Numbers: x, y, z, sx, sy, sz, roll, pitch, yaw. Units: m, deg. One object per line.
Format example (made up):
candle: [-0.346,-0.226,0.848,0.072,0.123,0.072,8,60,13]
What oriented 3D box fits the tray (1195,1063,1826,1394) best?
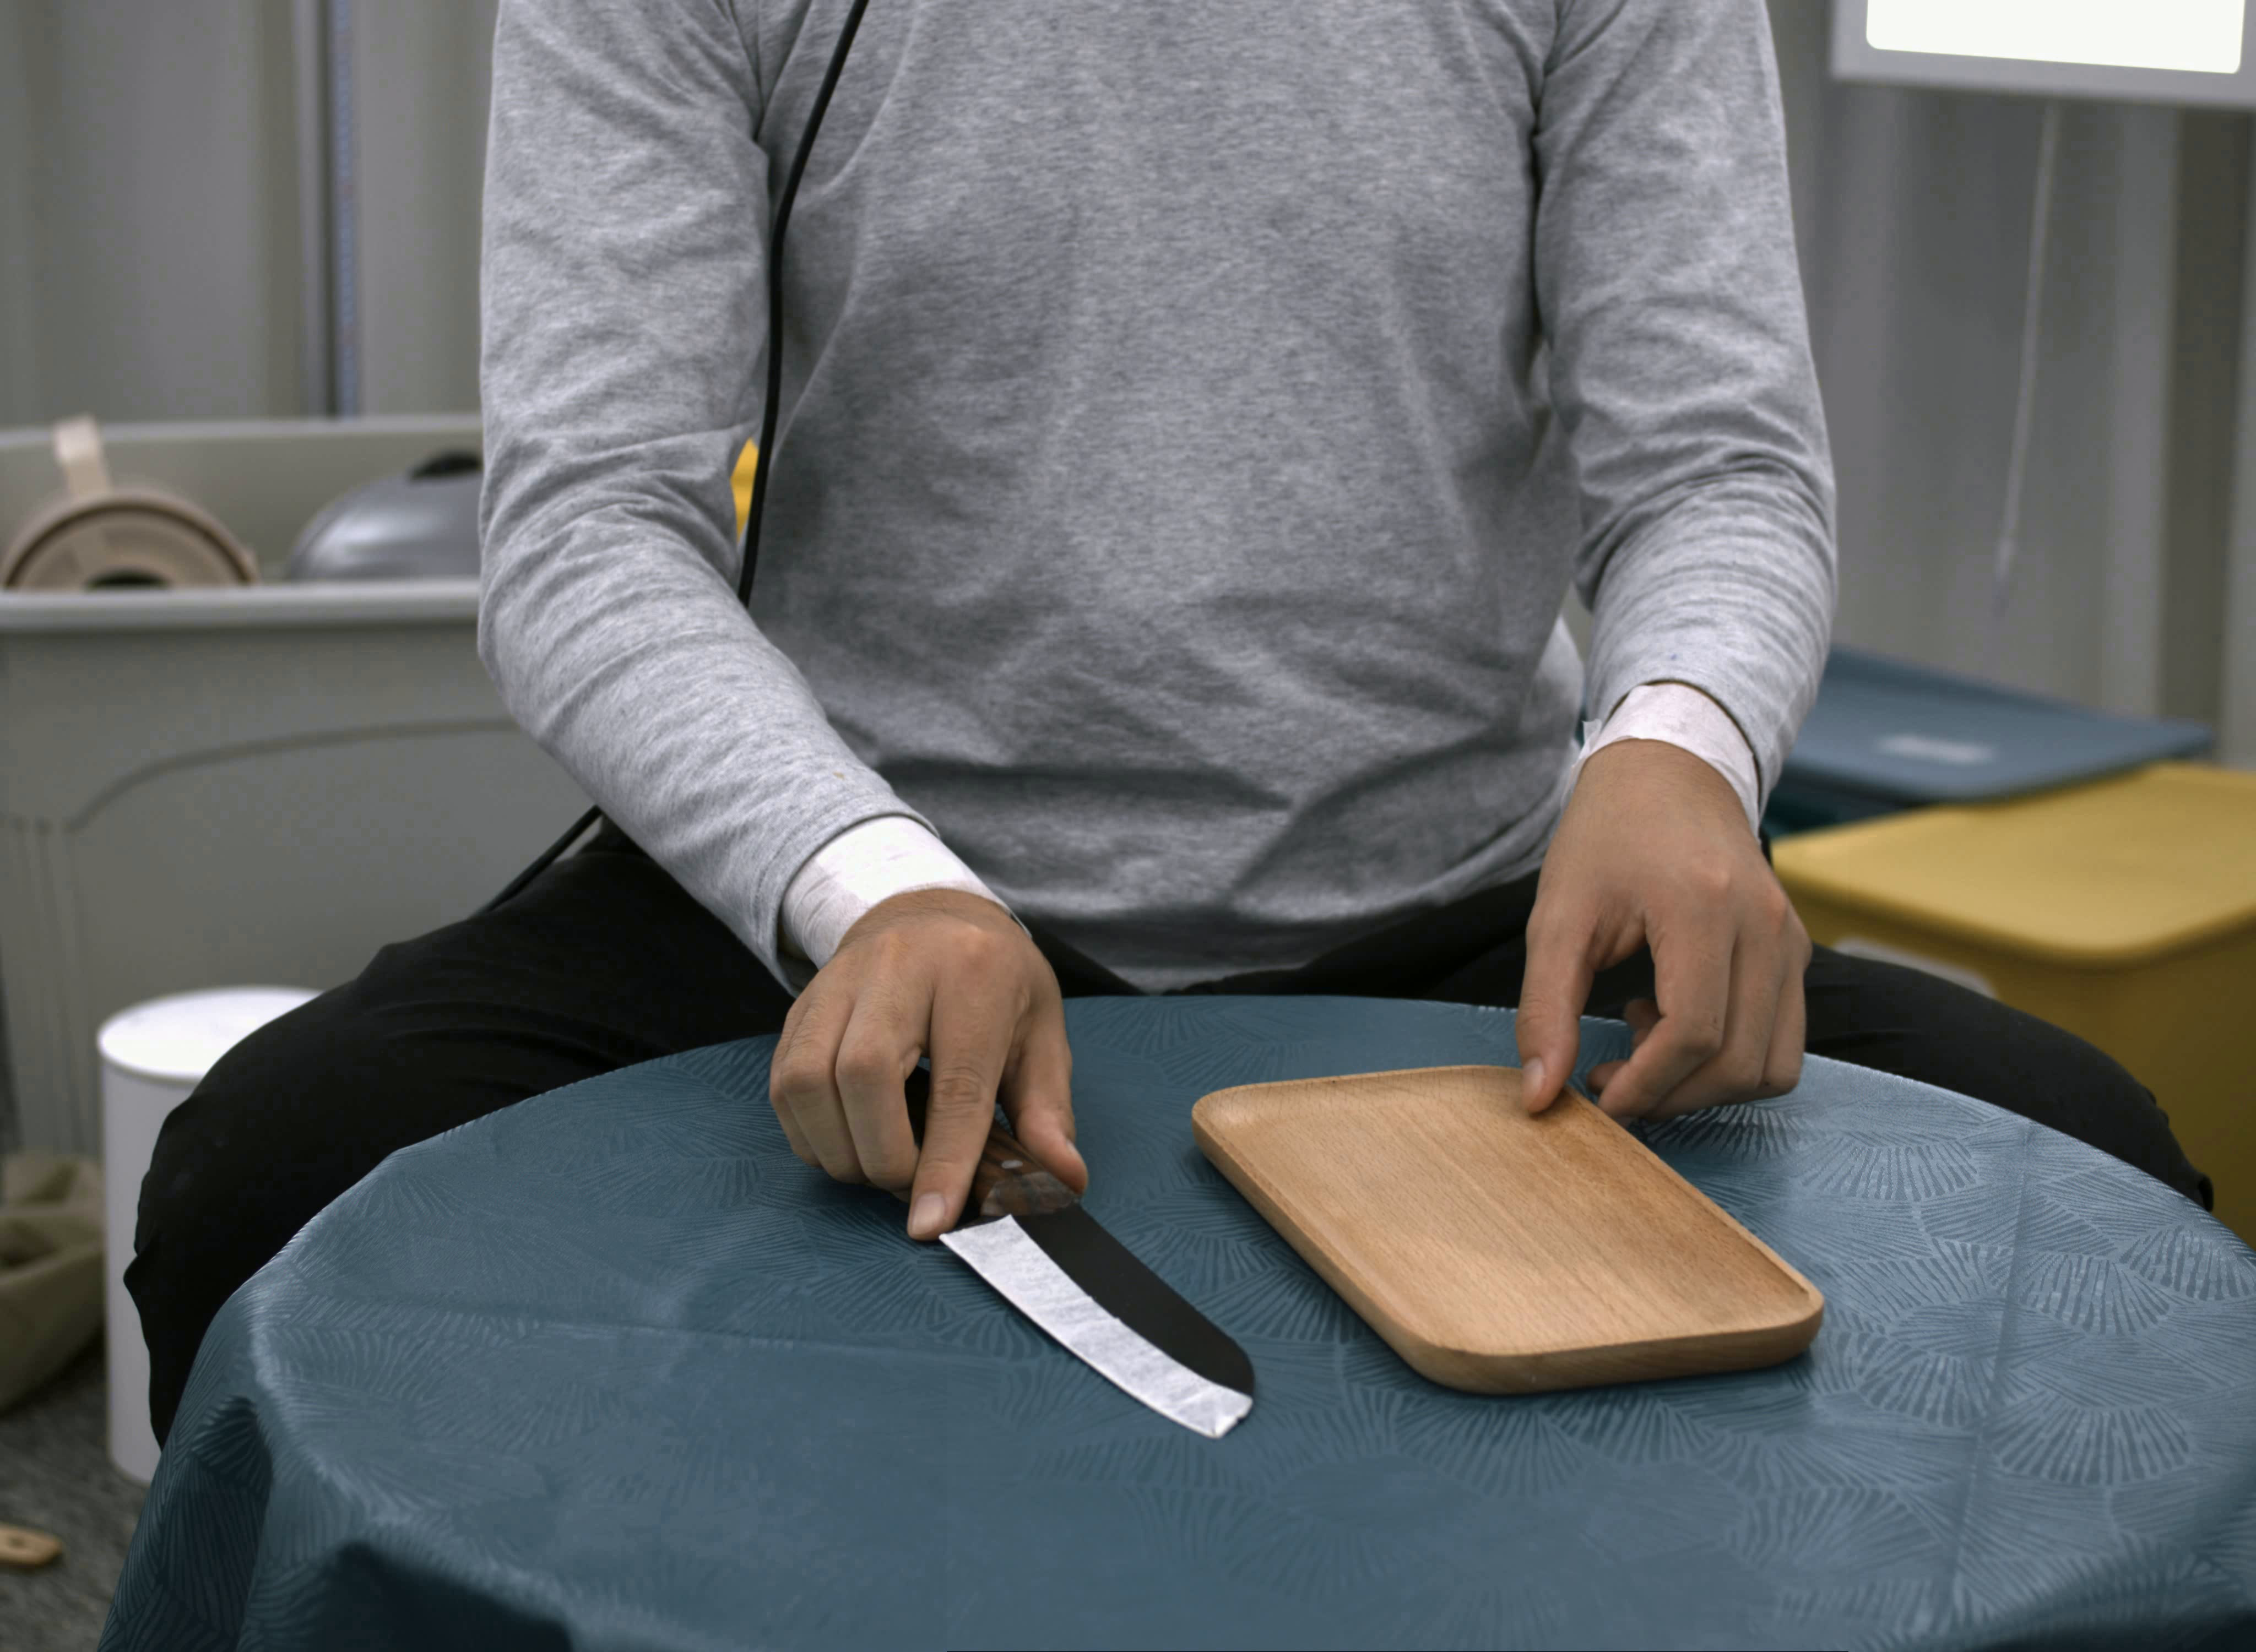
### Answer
tray: [0.110,0.118,1.580,0.131,0.023,0.248,-1,15,-16]

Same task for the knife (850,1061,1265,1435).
knife: [-0.025,0.124,1.556,0.050,0.020,0.285,-12,21,-19]
